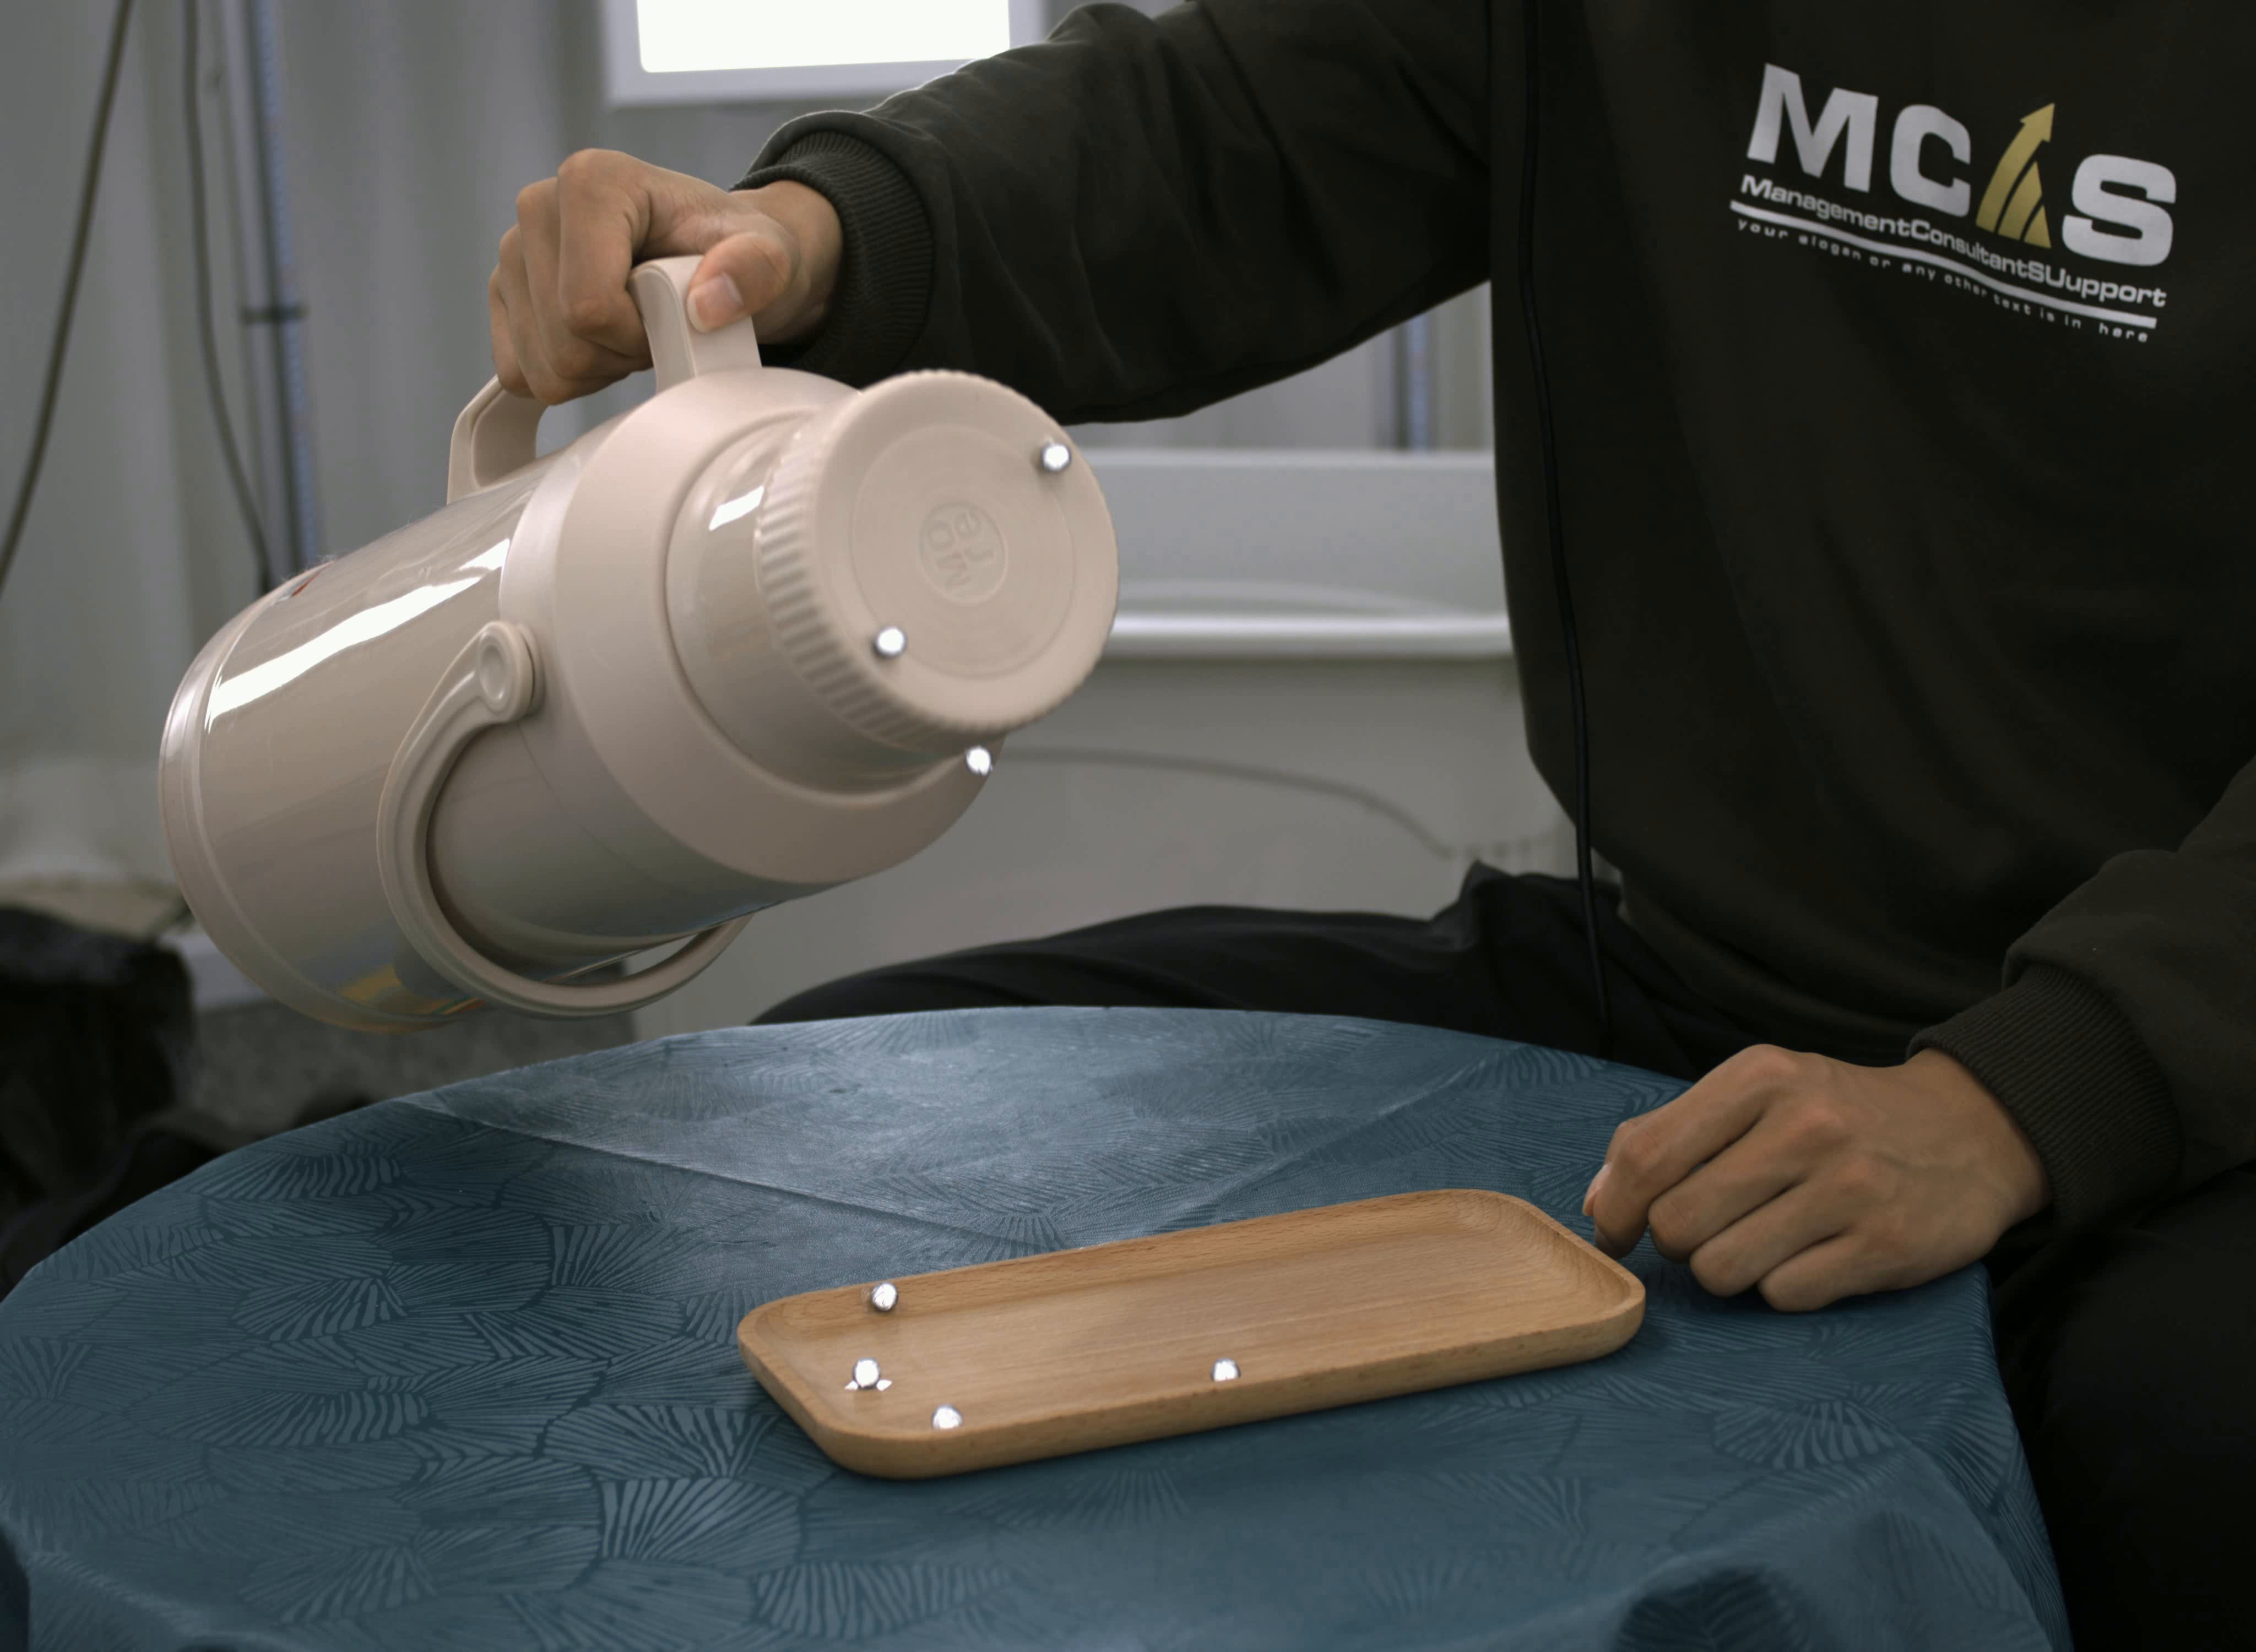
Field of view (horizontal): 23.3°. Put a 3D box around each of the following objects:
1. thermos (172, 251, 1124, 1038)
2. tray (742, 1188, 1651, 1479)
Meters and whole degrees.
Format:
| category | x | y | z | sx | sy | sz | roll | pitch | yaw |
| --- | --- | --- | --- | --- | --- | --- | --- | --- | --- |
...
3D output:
| category | x | y | z | sx | sy | sz | roll | pitch | yaw |
| --- | --- | --- | --- | --- | --- | --- | --- | --- | --- |
| thermos | -0.151 | -0.057 | 1.699 | 0.174 | 0.208 | 0.405 | -9 | -6 | -32 |
| tray | 0.020 | 0.145 | 1.572 | 0.249 | 0.023 | 0.132 | -7 | 18 | -18 |
